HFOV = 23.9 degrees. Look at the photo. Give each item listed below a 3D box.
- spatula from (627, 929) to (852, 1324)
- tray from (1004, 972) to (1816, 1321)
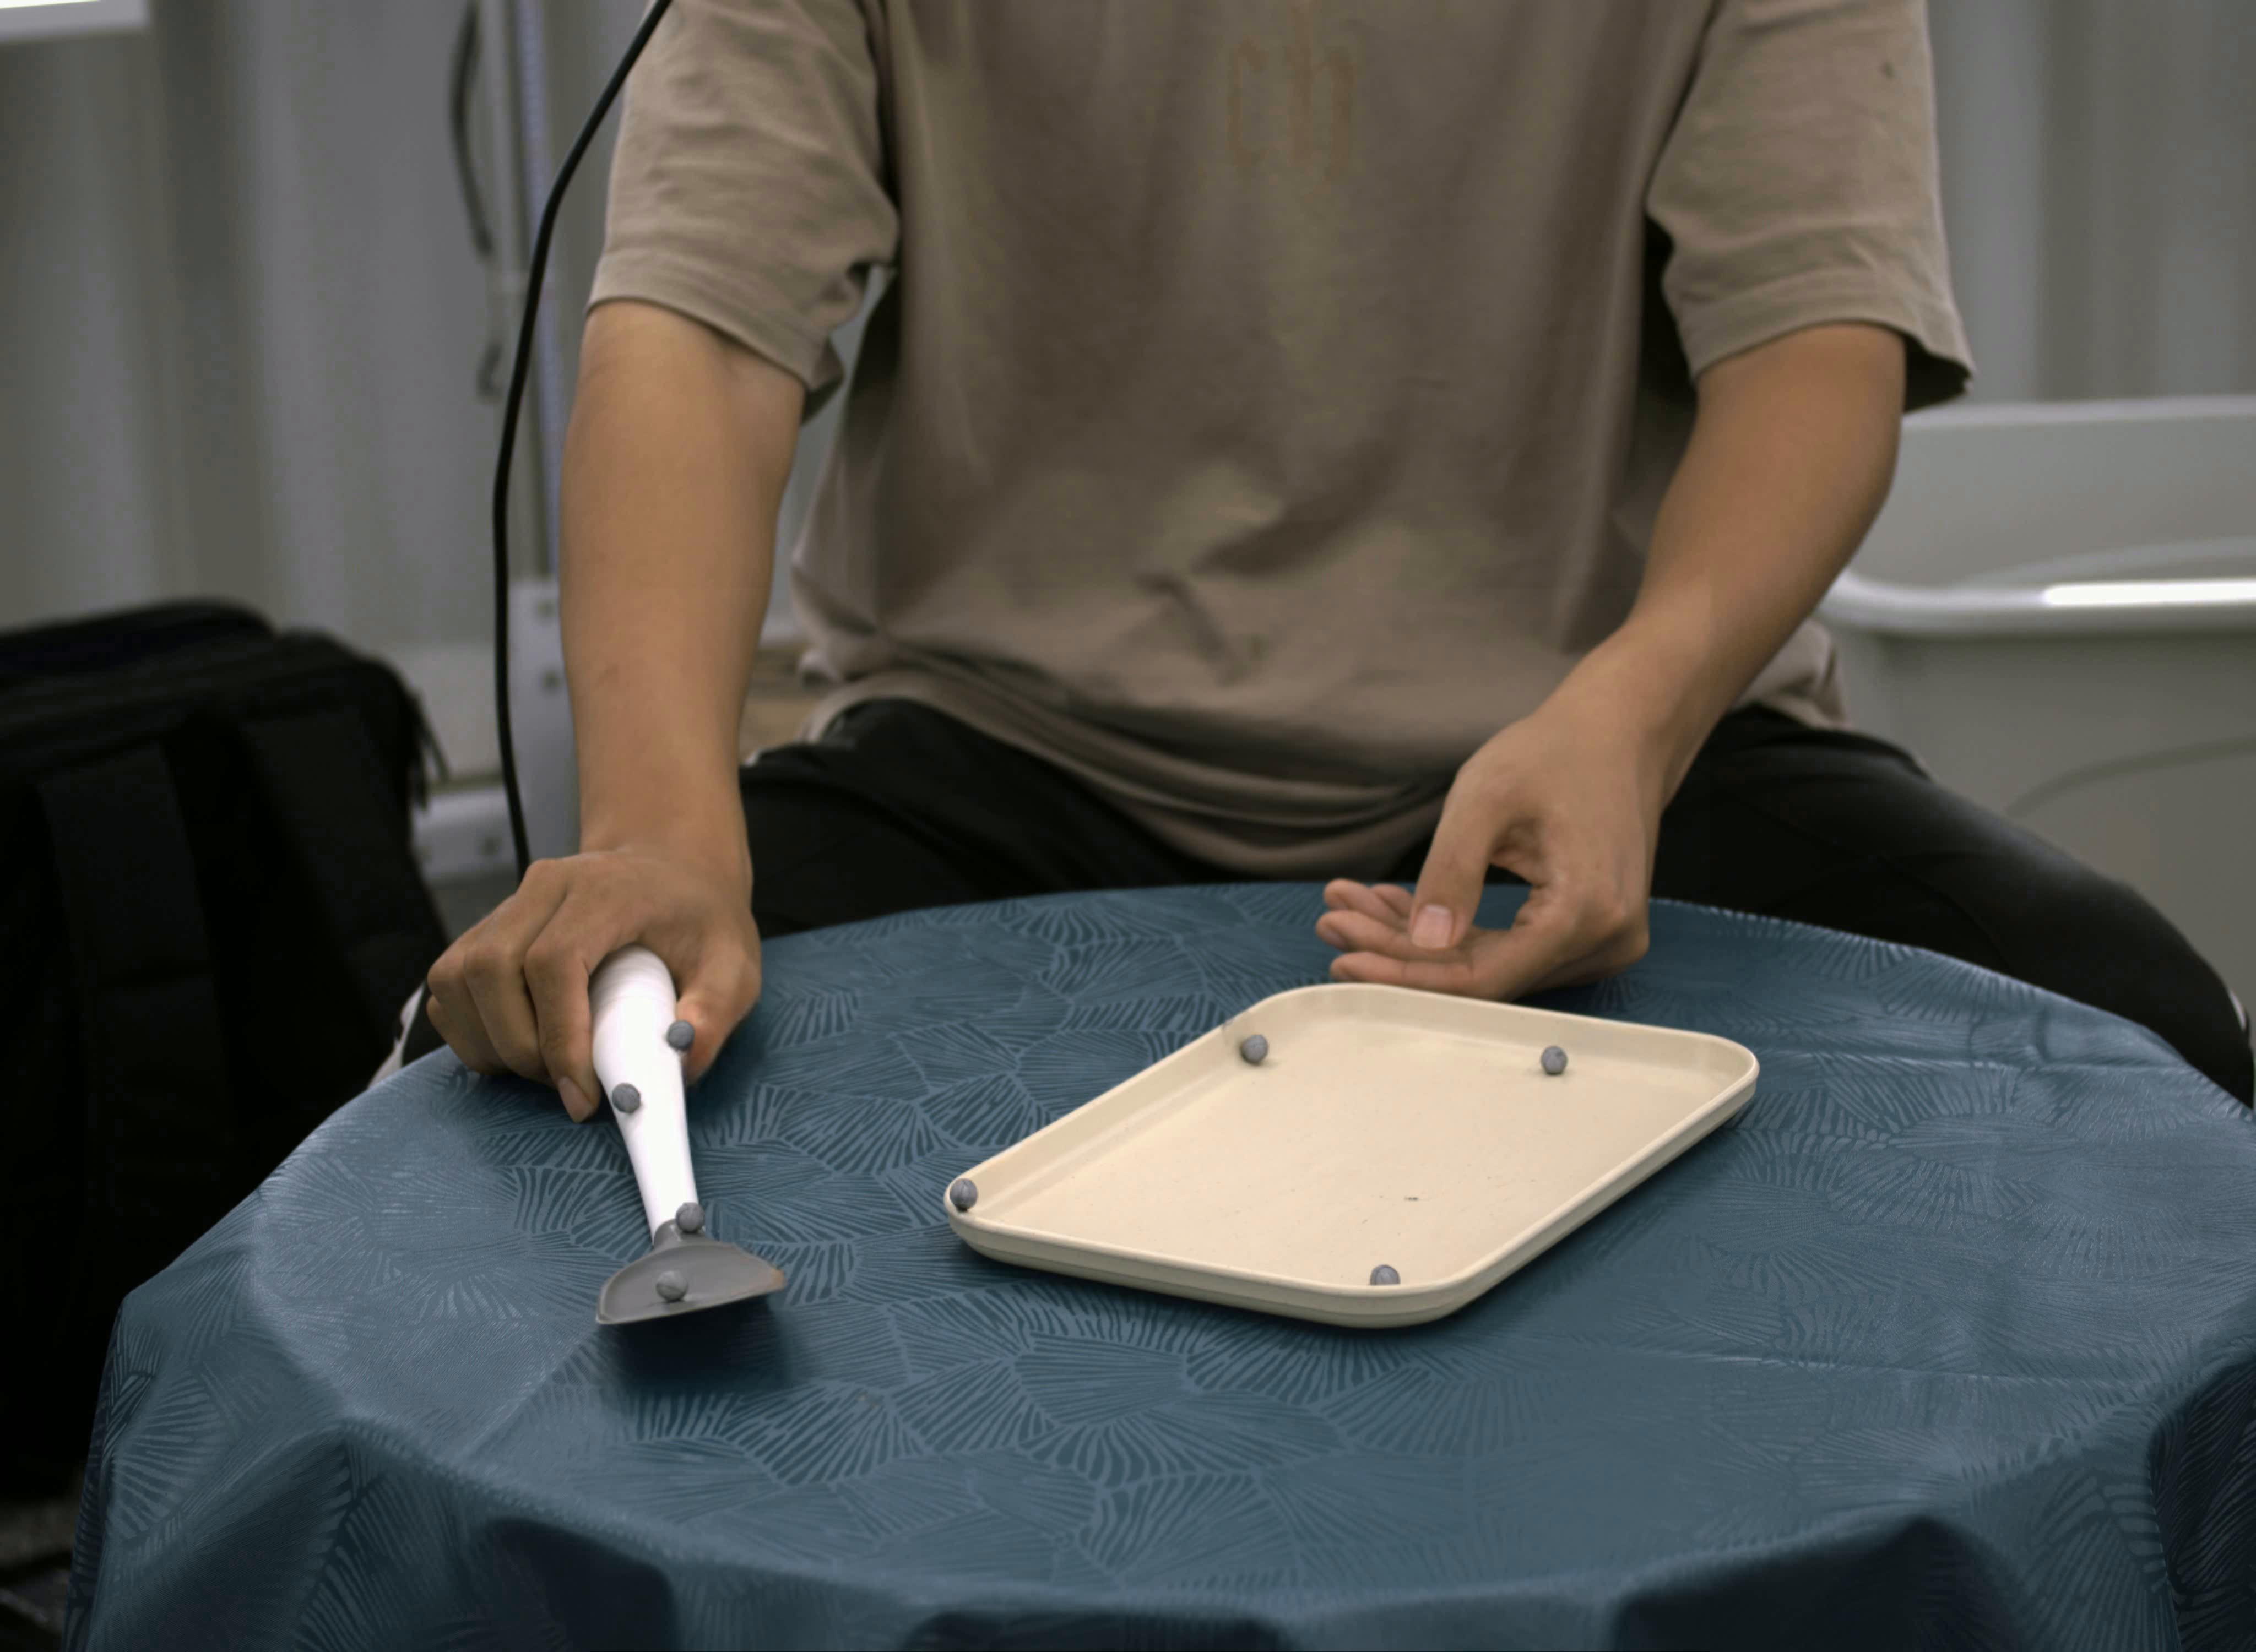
[{"bbox_3d":[-0.120,0.091,1.550,0.058,0.032,0.291,-7,19,-7],"label":"spatula"},{"bbox_3d":[0.086,0.092,1.554,0.174,0.017,0.235,9,19,31],"label":"tray"}]
